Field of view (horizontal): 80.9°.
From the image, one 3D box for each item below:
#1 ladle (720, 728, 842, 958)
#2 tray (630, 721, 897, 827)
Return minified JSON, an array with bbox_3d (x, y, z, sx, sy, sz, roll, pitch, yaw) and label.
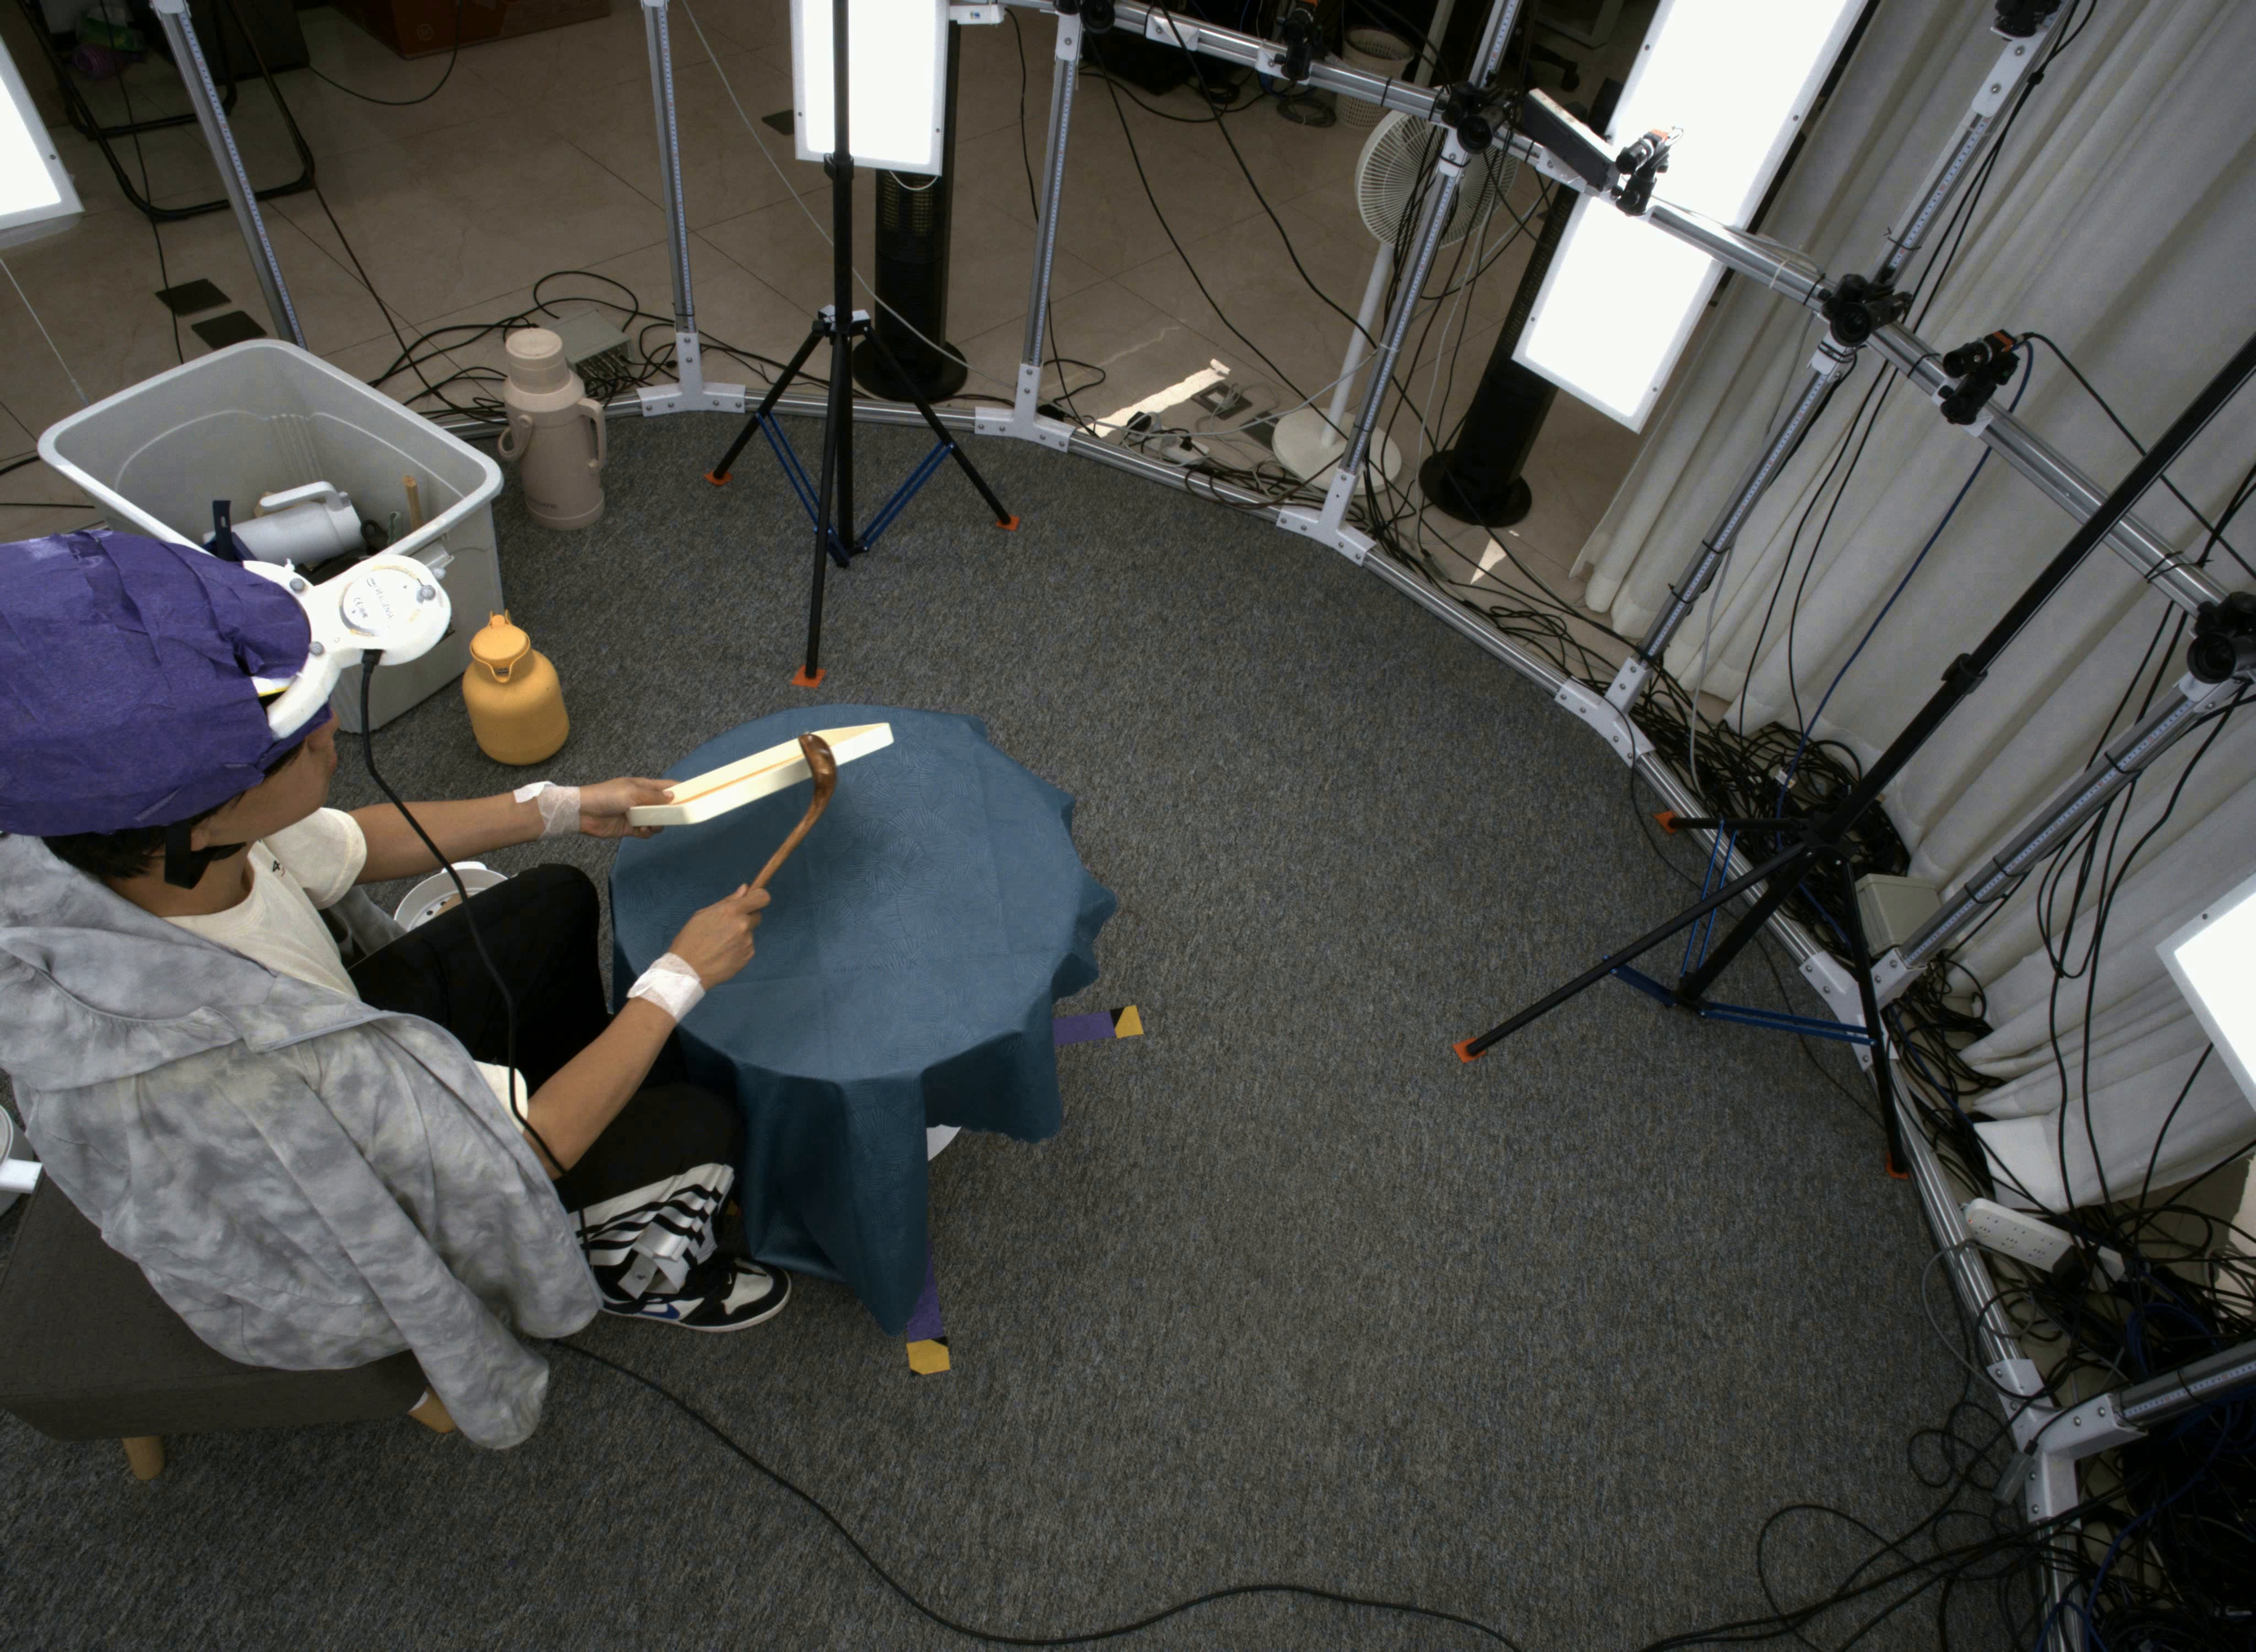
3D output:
[{"bbox_3d":[-0.413,0.013,1.485,0.076,0.082,0.274,32,78,-1],"label":"ladle"},{"bbox_3d":[-0.450,-0.066,1.603,0.302,0.185,0.028,-28,109,-41],"label":"tray"}]
